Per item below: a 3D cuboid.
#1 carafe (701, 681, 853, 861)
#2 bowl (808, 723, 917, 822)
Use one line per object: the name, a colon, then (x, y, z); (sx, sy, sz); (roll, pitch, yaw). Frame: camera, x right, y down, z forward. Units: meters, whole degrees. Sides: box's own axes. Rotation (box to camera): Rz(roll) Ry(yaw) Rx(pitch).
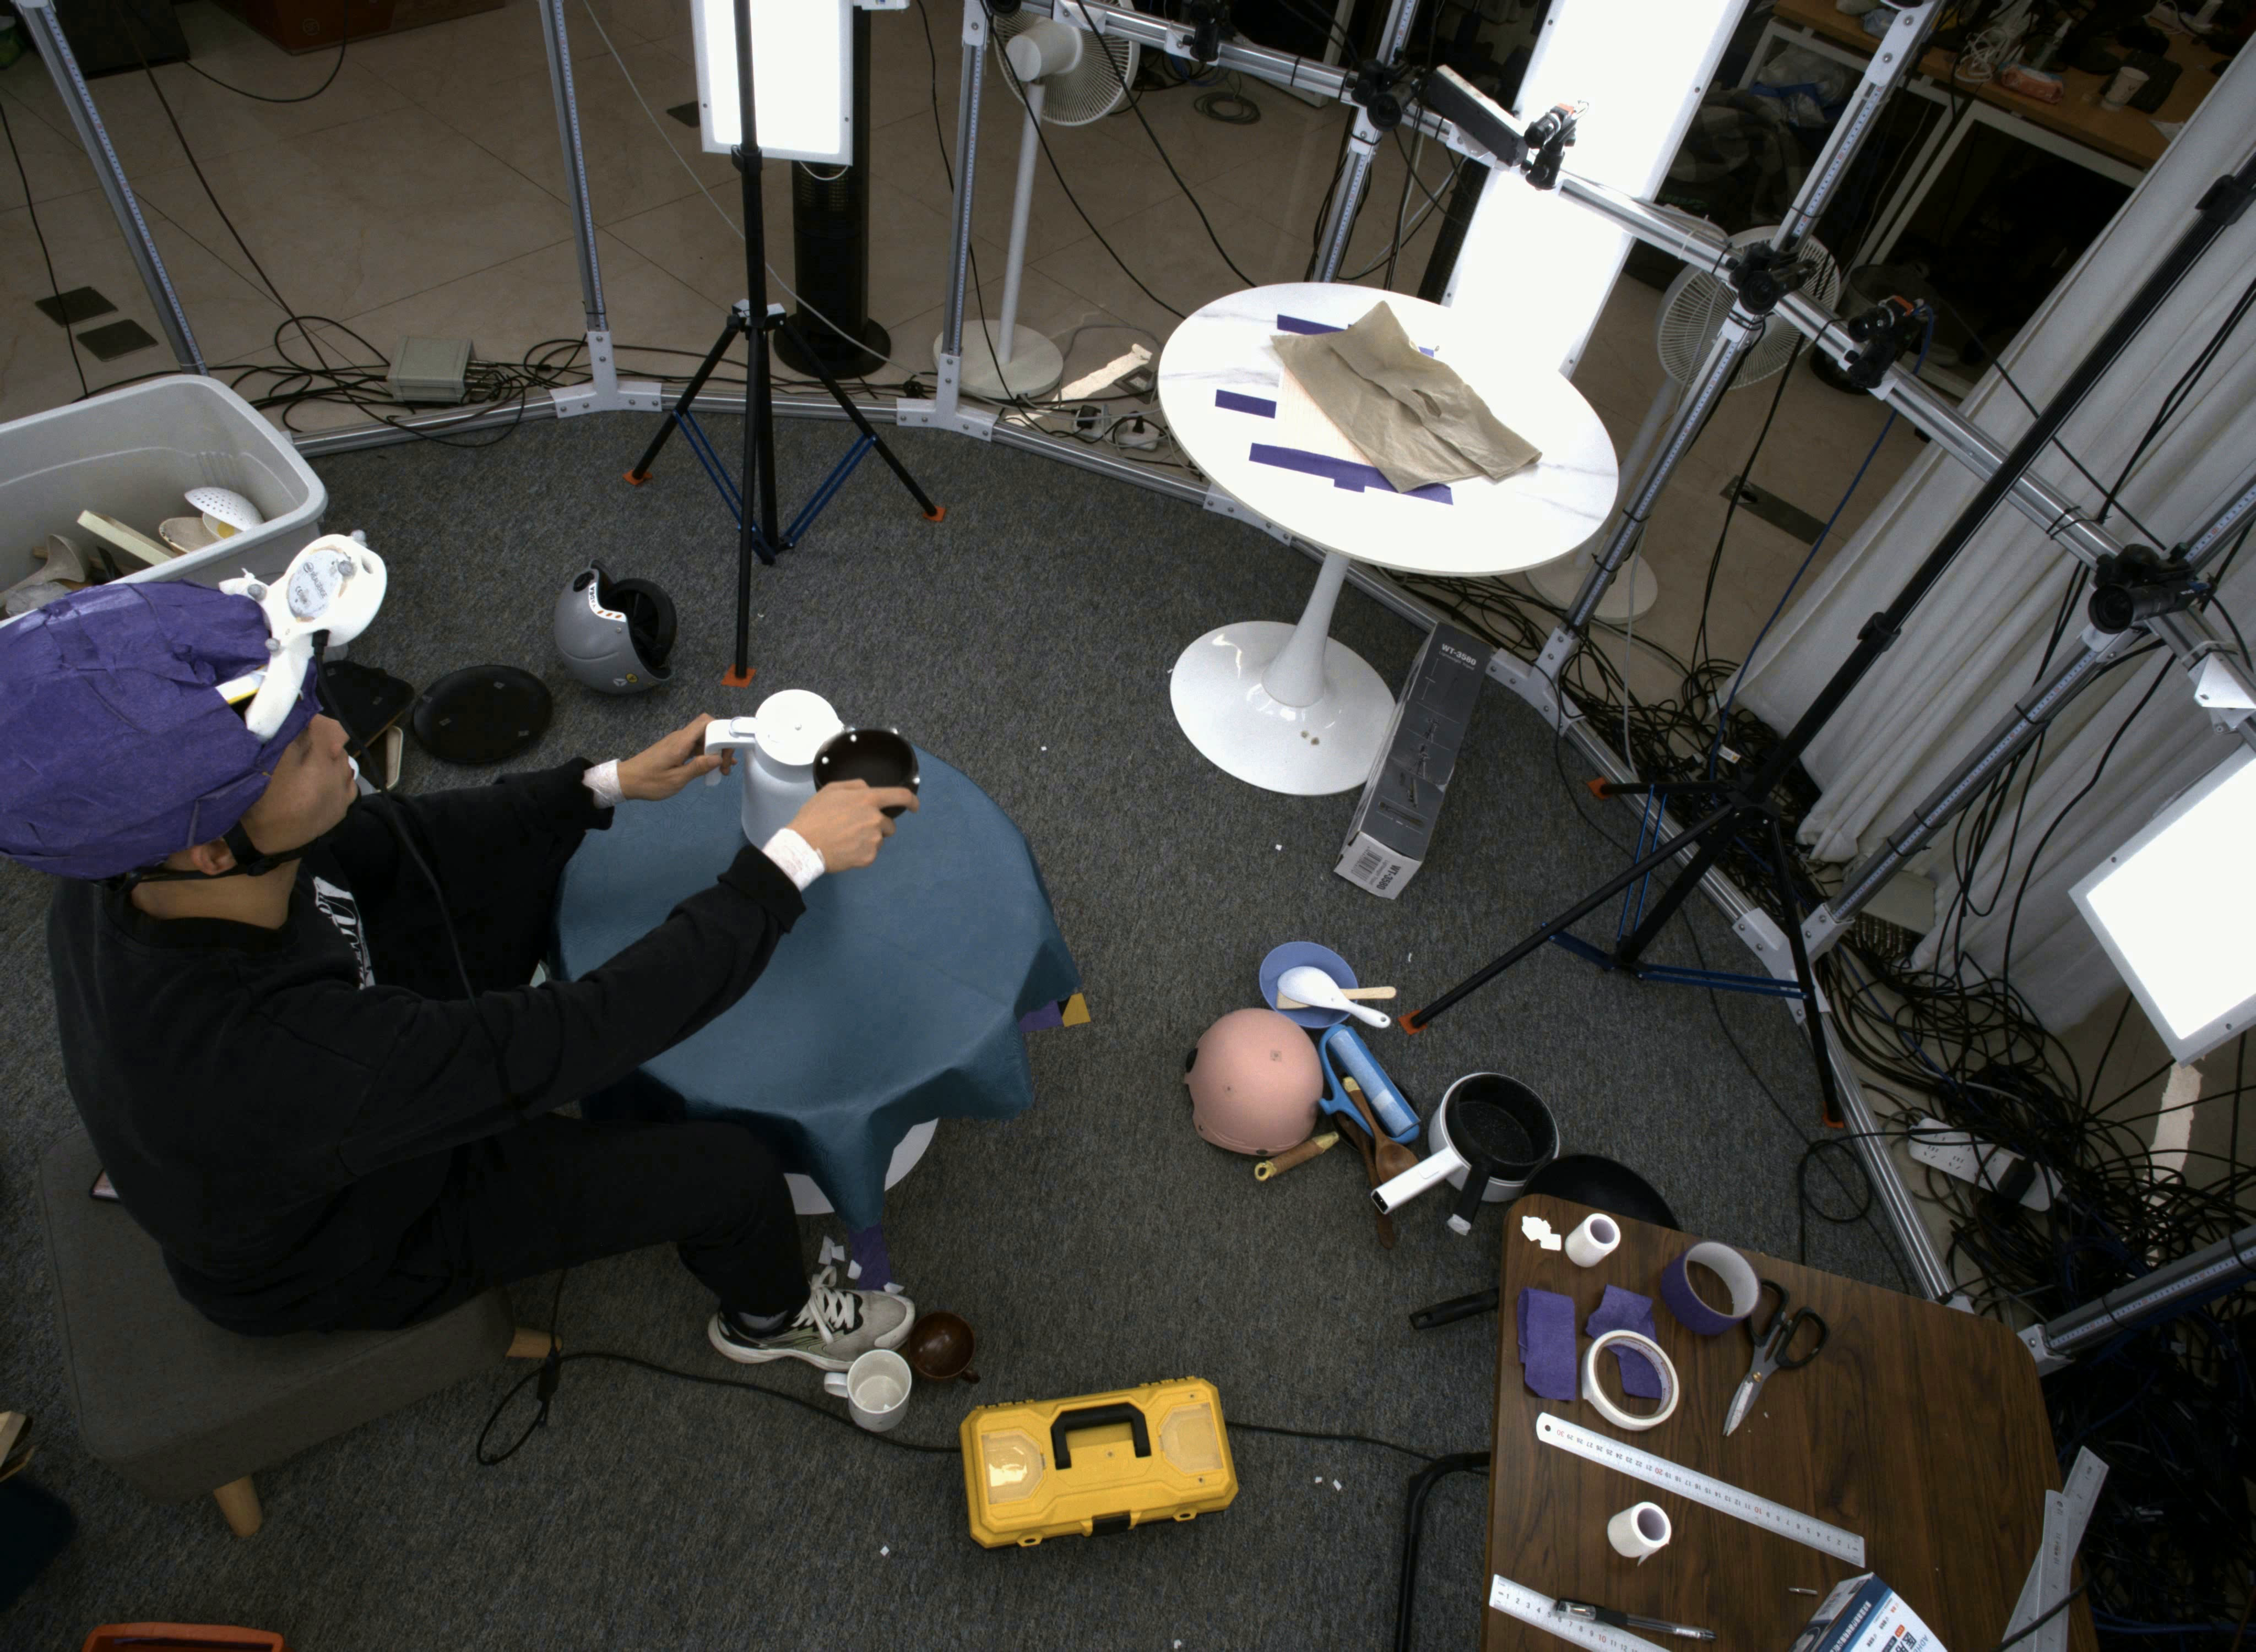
carafe: (-0.433, -0.063, 1.584); (0.174, 0.270, 0.122); (-1, 67, -18)
bowl: (-0.294, -0.052, 1.449); (0.117, 0.072, 0.116); (2, 47, -1)
